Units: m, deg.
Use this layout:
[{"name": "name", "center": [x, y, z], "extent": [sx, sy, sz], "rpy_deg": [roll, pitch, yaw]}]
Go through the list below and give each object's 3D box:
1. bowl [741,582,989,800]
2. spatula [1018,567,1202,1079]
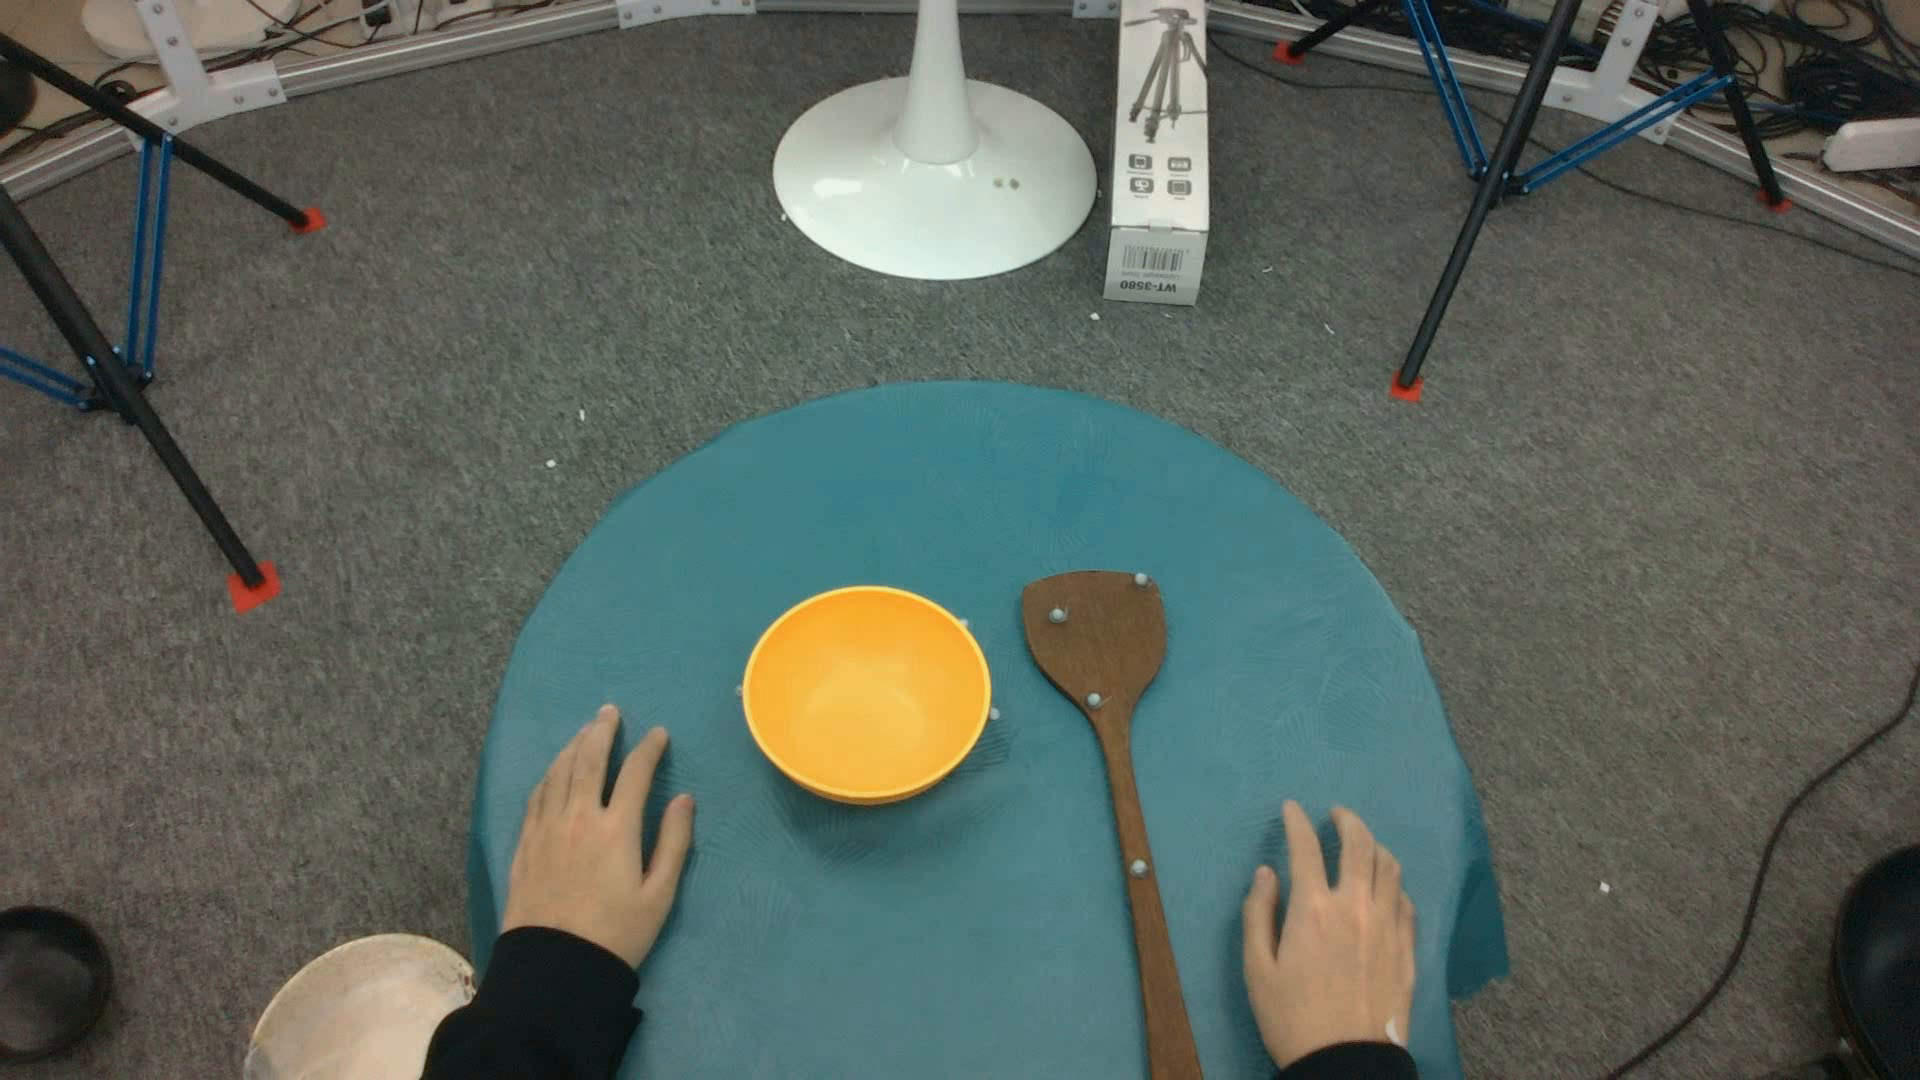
[{"name": "bowl", "center": [-0.055, 0.100, 0.825], "extent": [0.145, 0.060, 0.146], "rpy_deg": [0, 52, 0]}, {"name": "spatula", "center": [0.100, 0.172, 0.805], "extent": [0.096, 0.016, 0.387], "rpy_deg": [-2, 52, -5]}]
